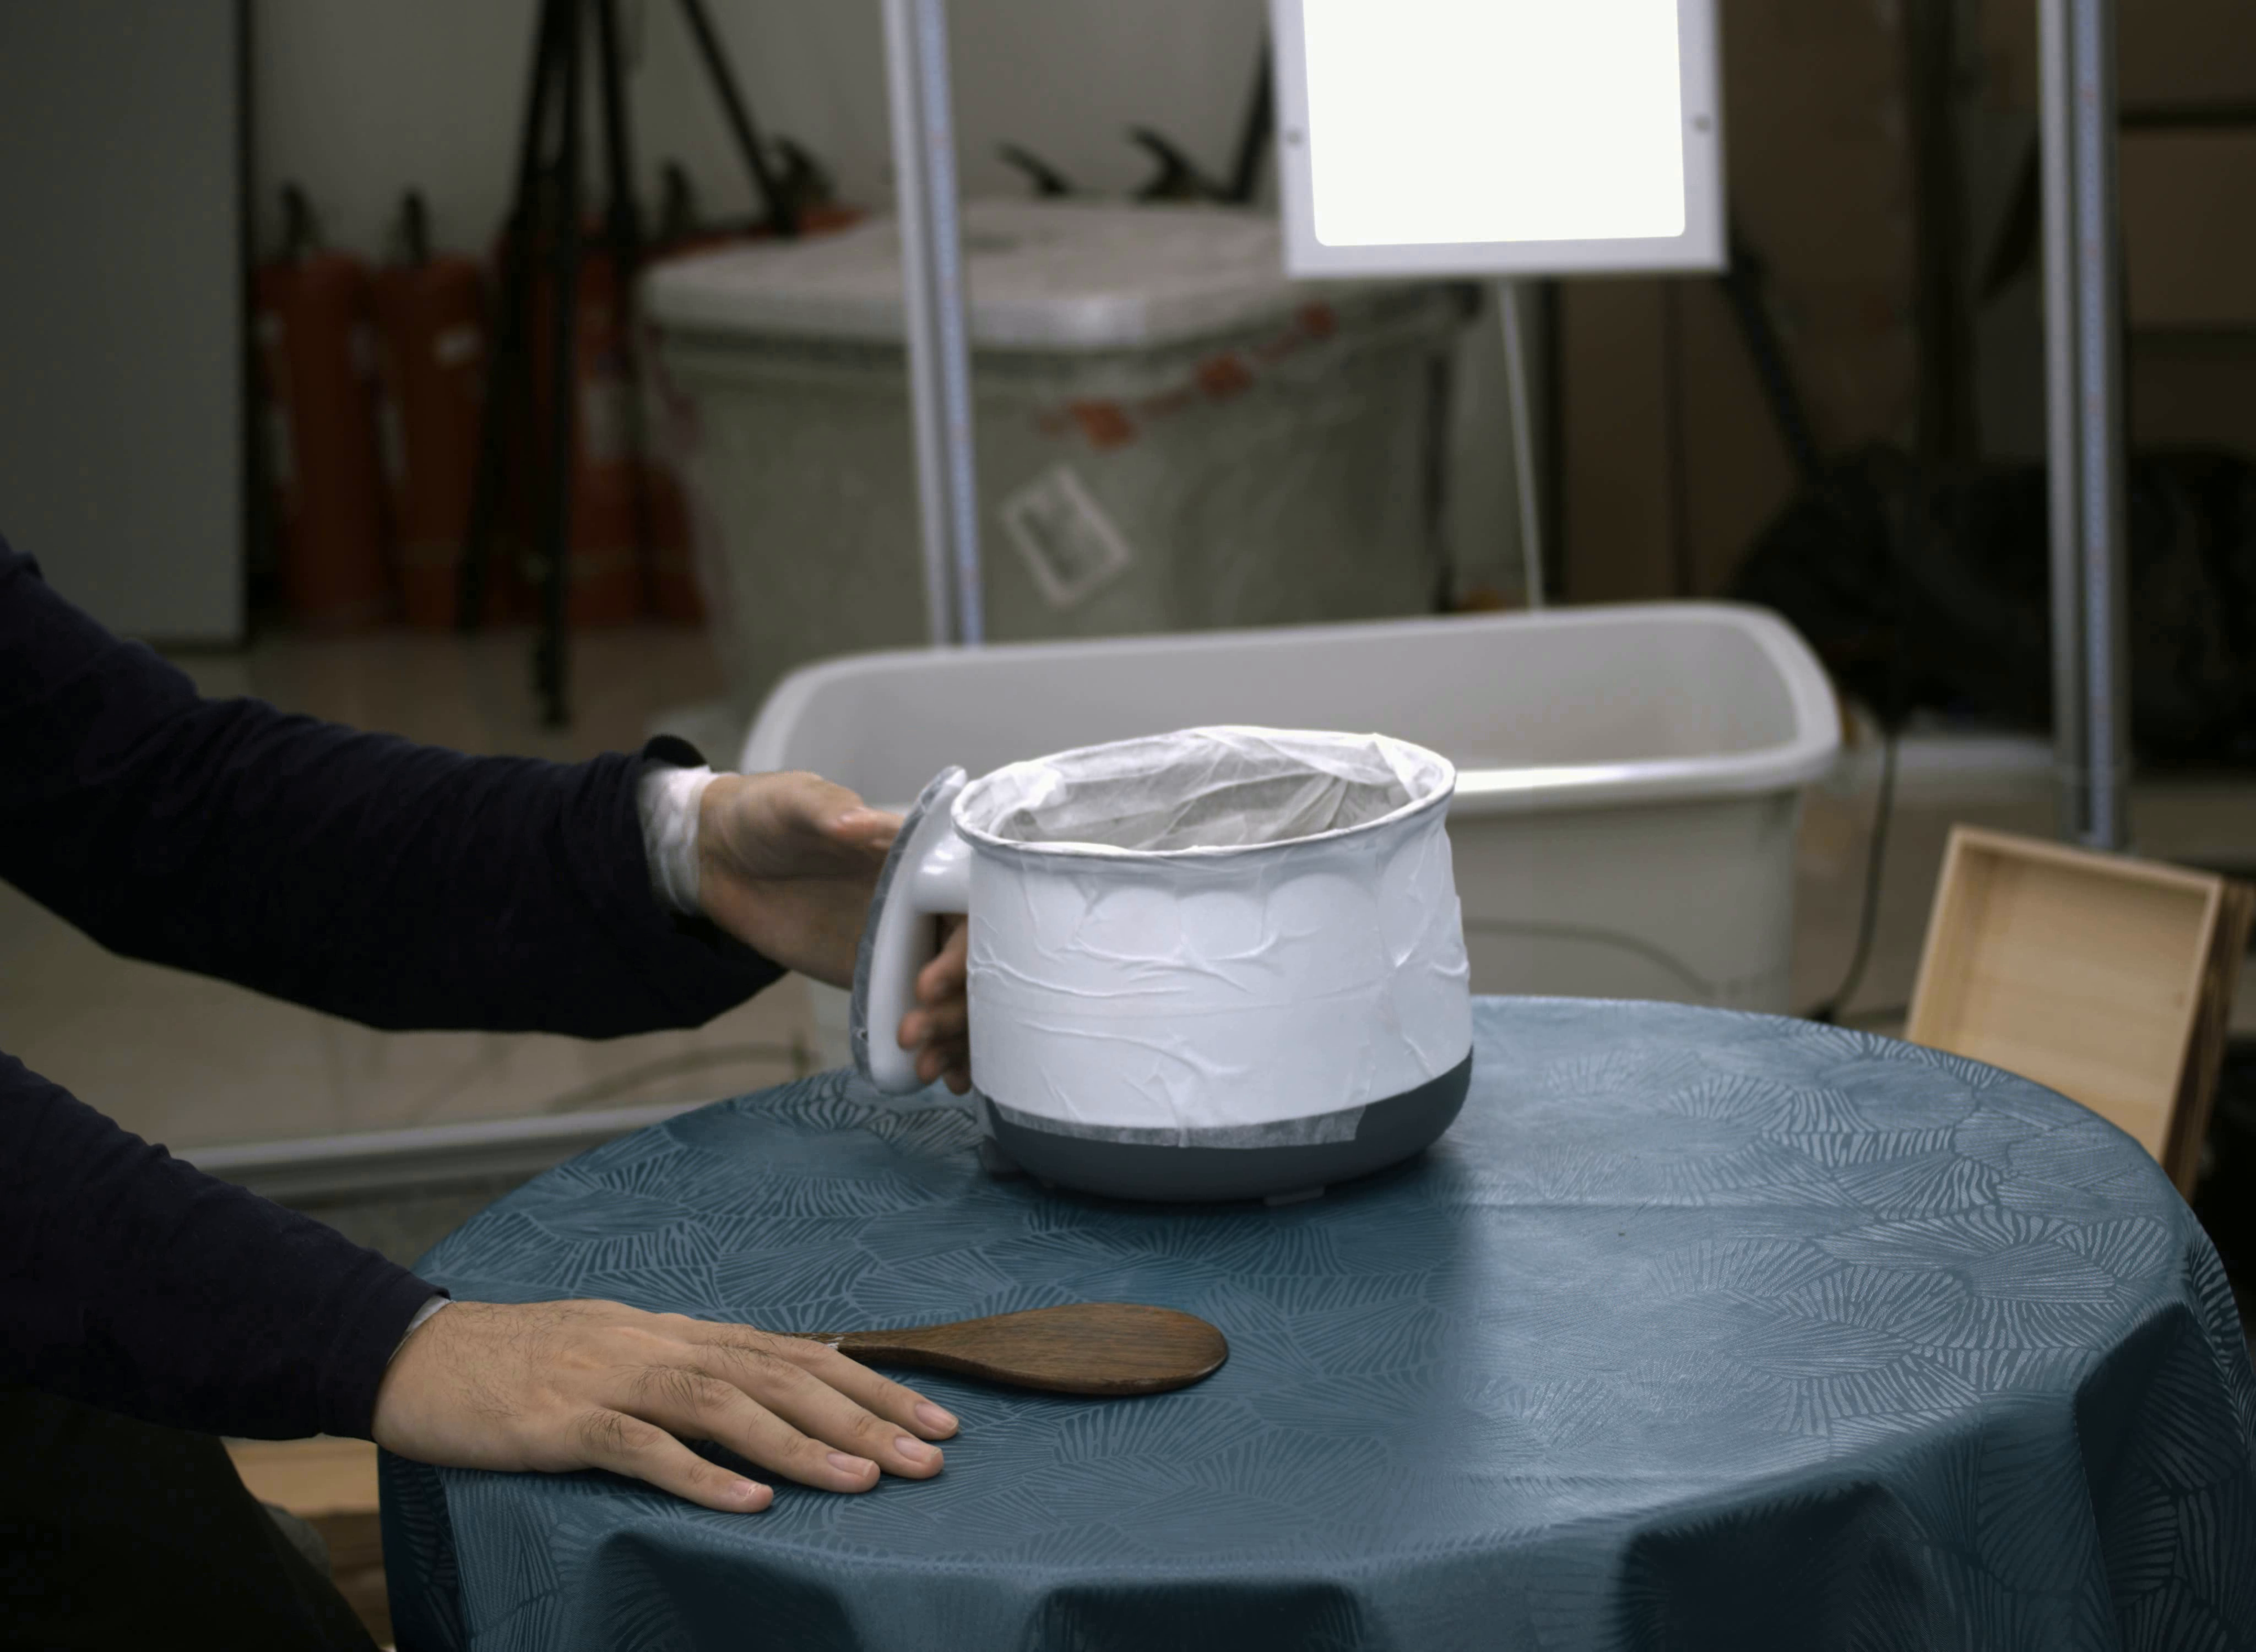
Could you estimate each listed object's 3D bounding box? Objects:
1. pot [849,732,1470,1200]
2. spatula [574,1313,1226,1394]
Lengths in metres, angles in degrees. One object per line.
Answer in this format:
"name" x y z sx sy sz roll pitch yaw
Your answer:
"pot" 0.006 0.046 1.936 0.237 0.137 0.175 3 13 26
"spatula" -0.074 0.168 1.752 0.218 0.009 0.071 -2 13 18
